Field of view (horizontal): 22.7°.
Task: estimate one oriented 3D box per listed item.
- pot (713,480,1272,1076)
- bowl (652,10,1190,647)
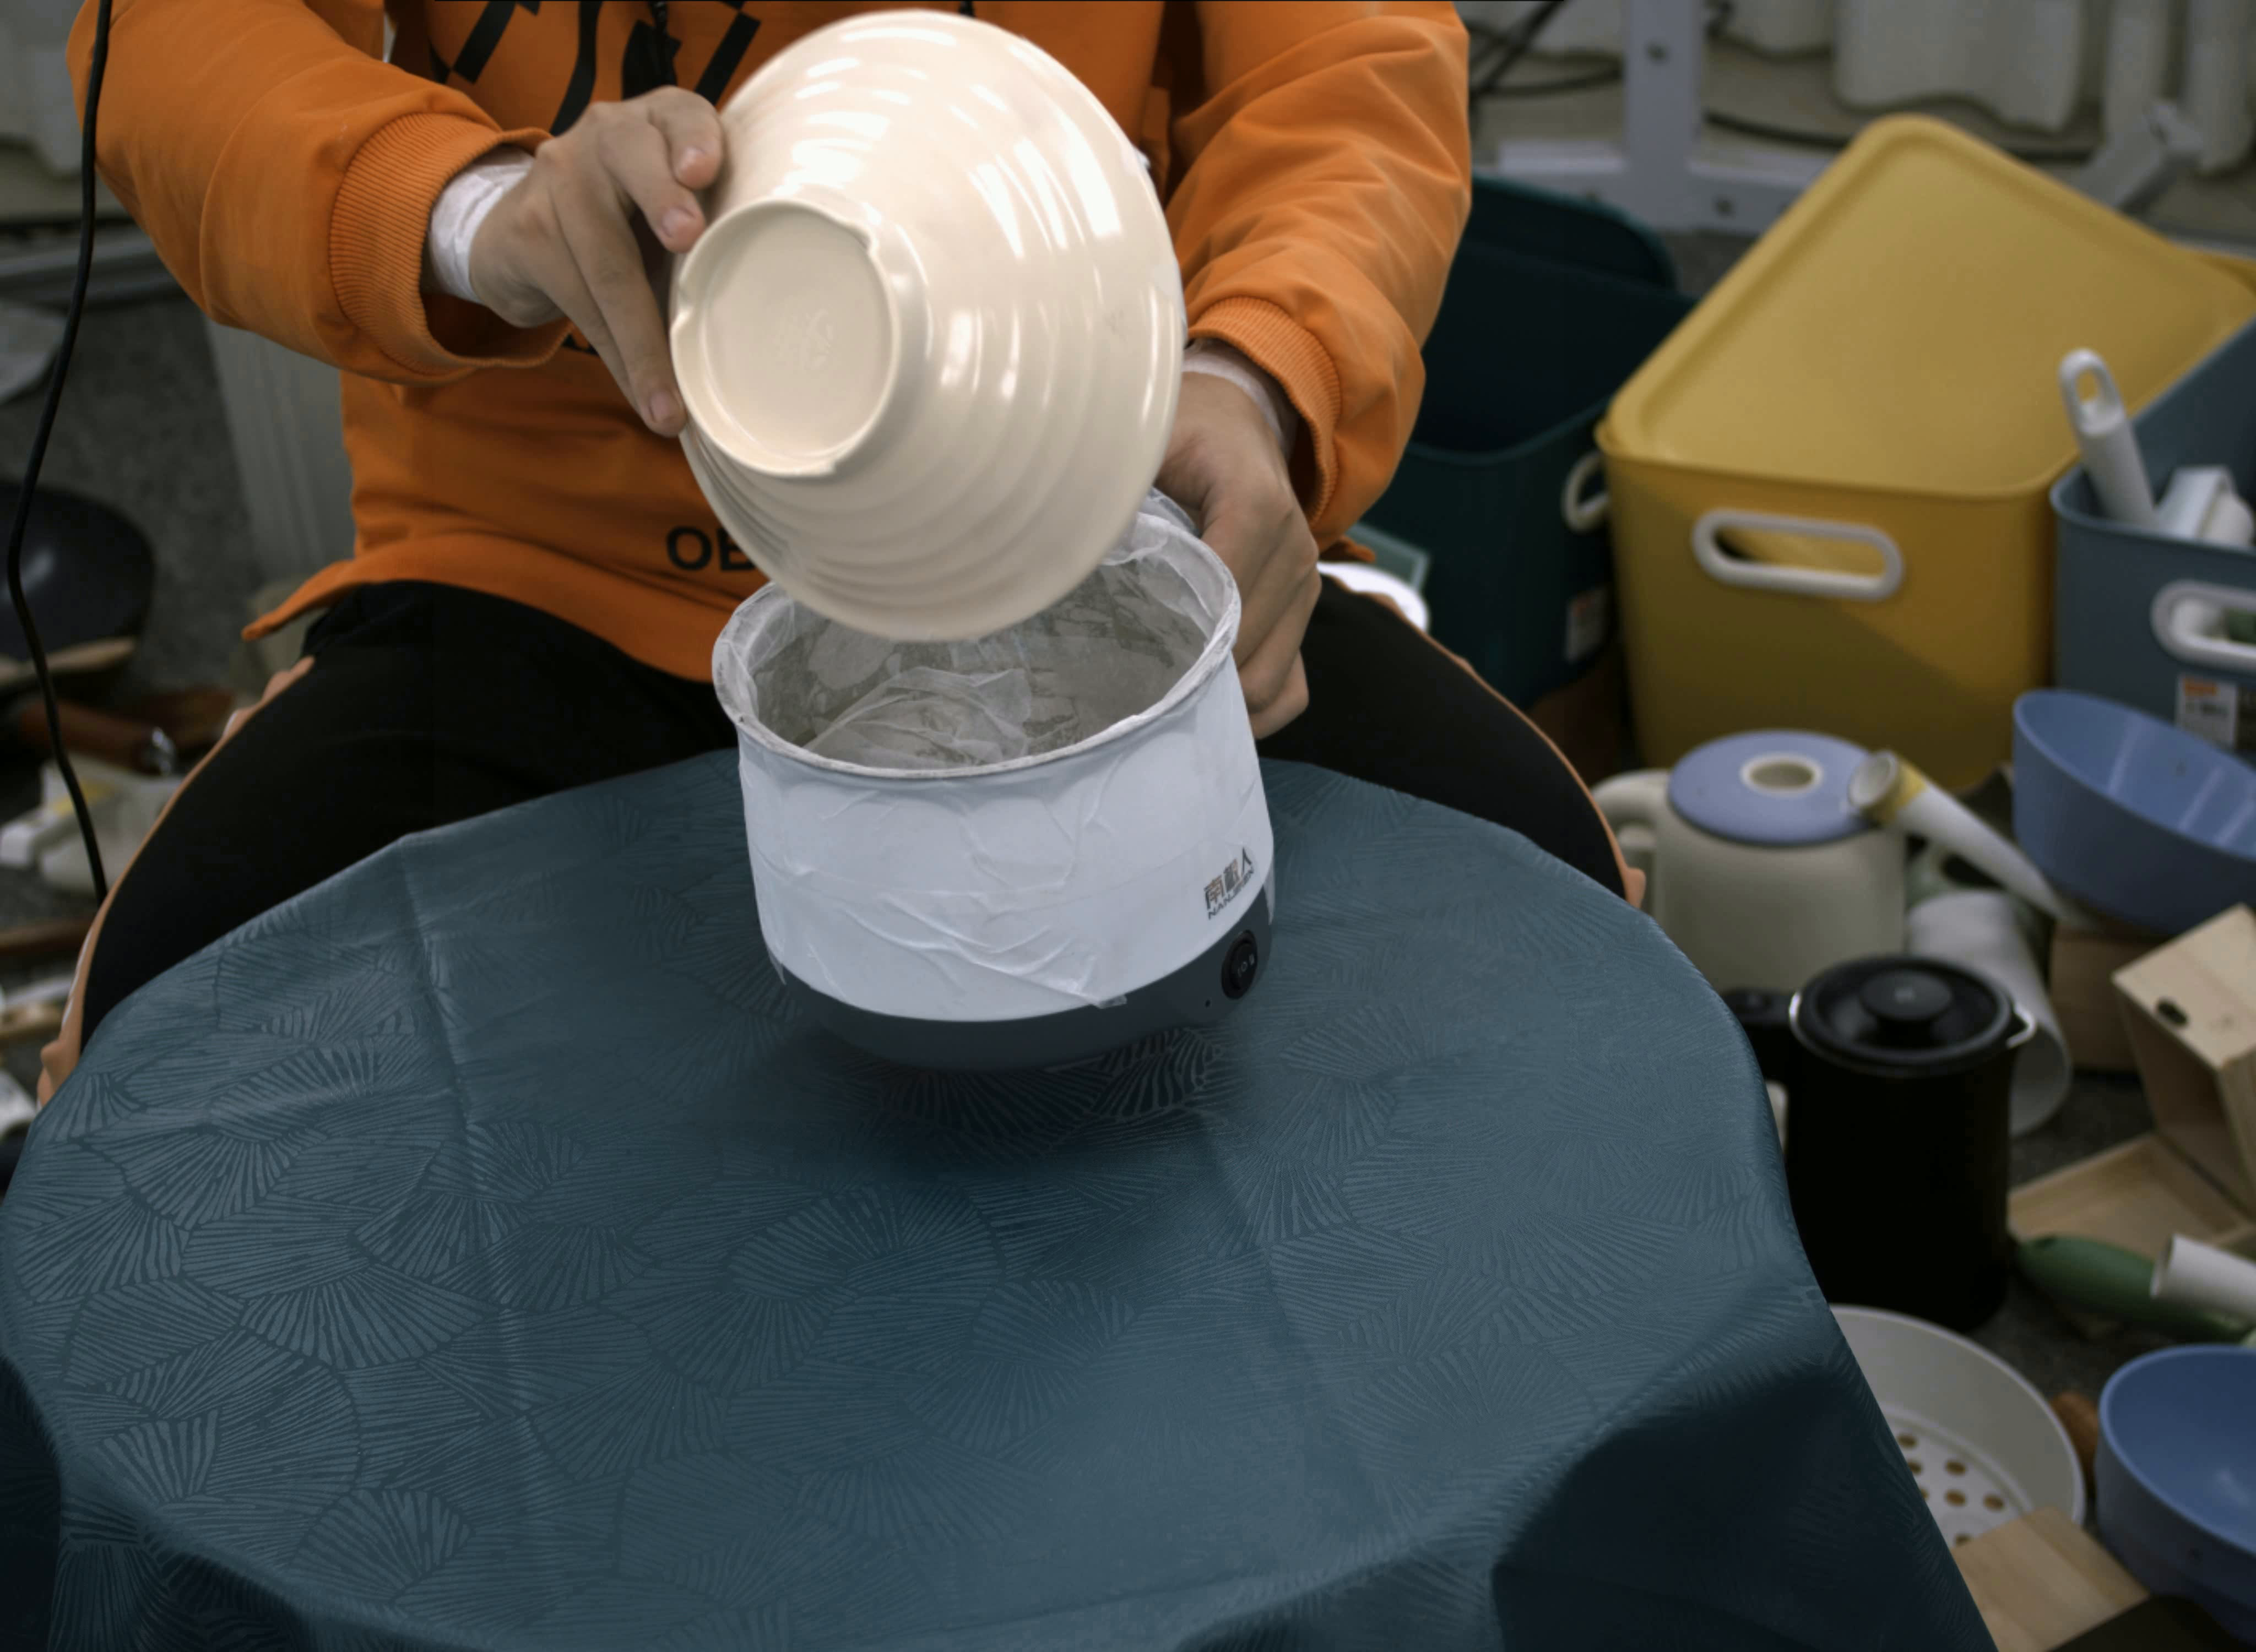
[{"bbox_3d":[-0.029,-0.026,1.911,0.177,0.135,0.238,11,37,27],"label":"pot"},{"bbox_3d":[-0.086,-0.157,1.786,0.203,0.204,0.078,13,10,28],"label":"bowl"}]
